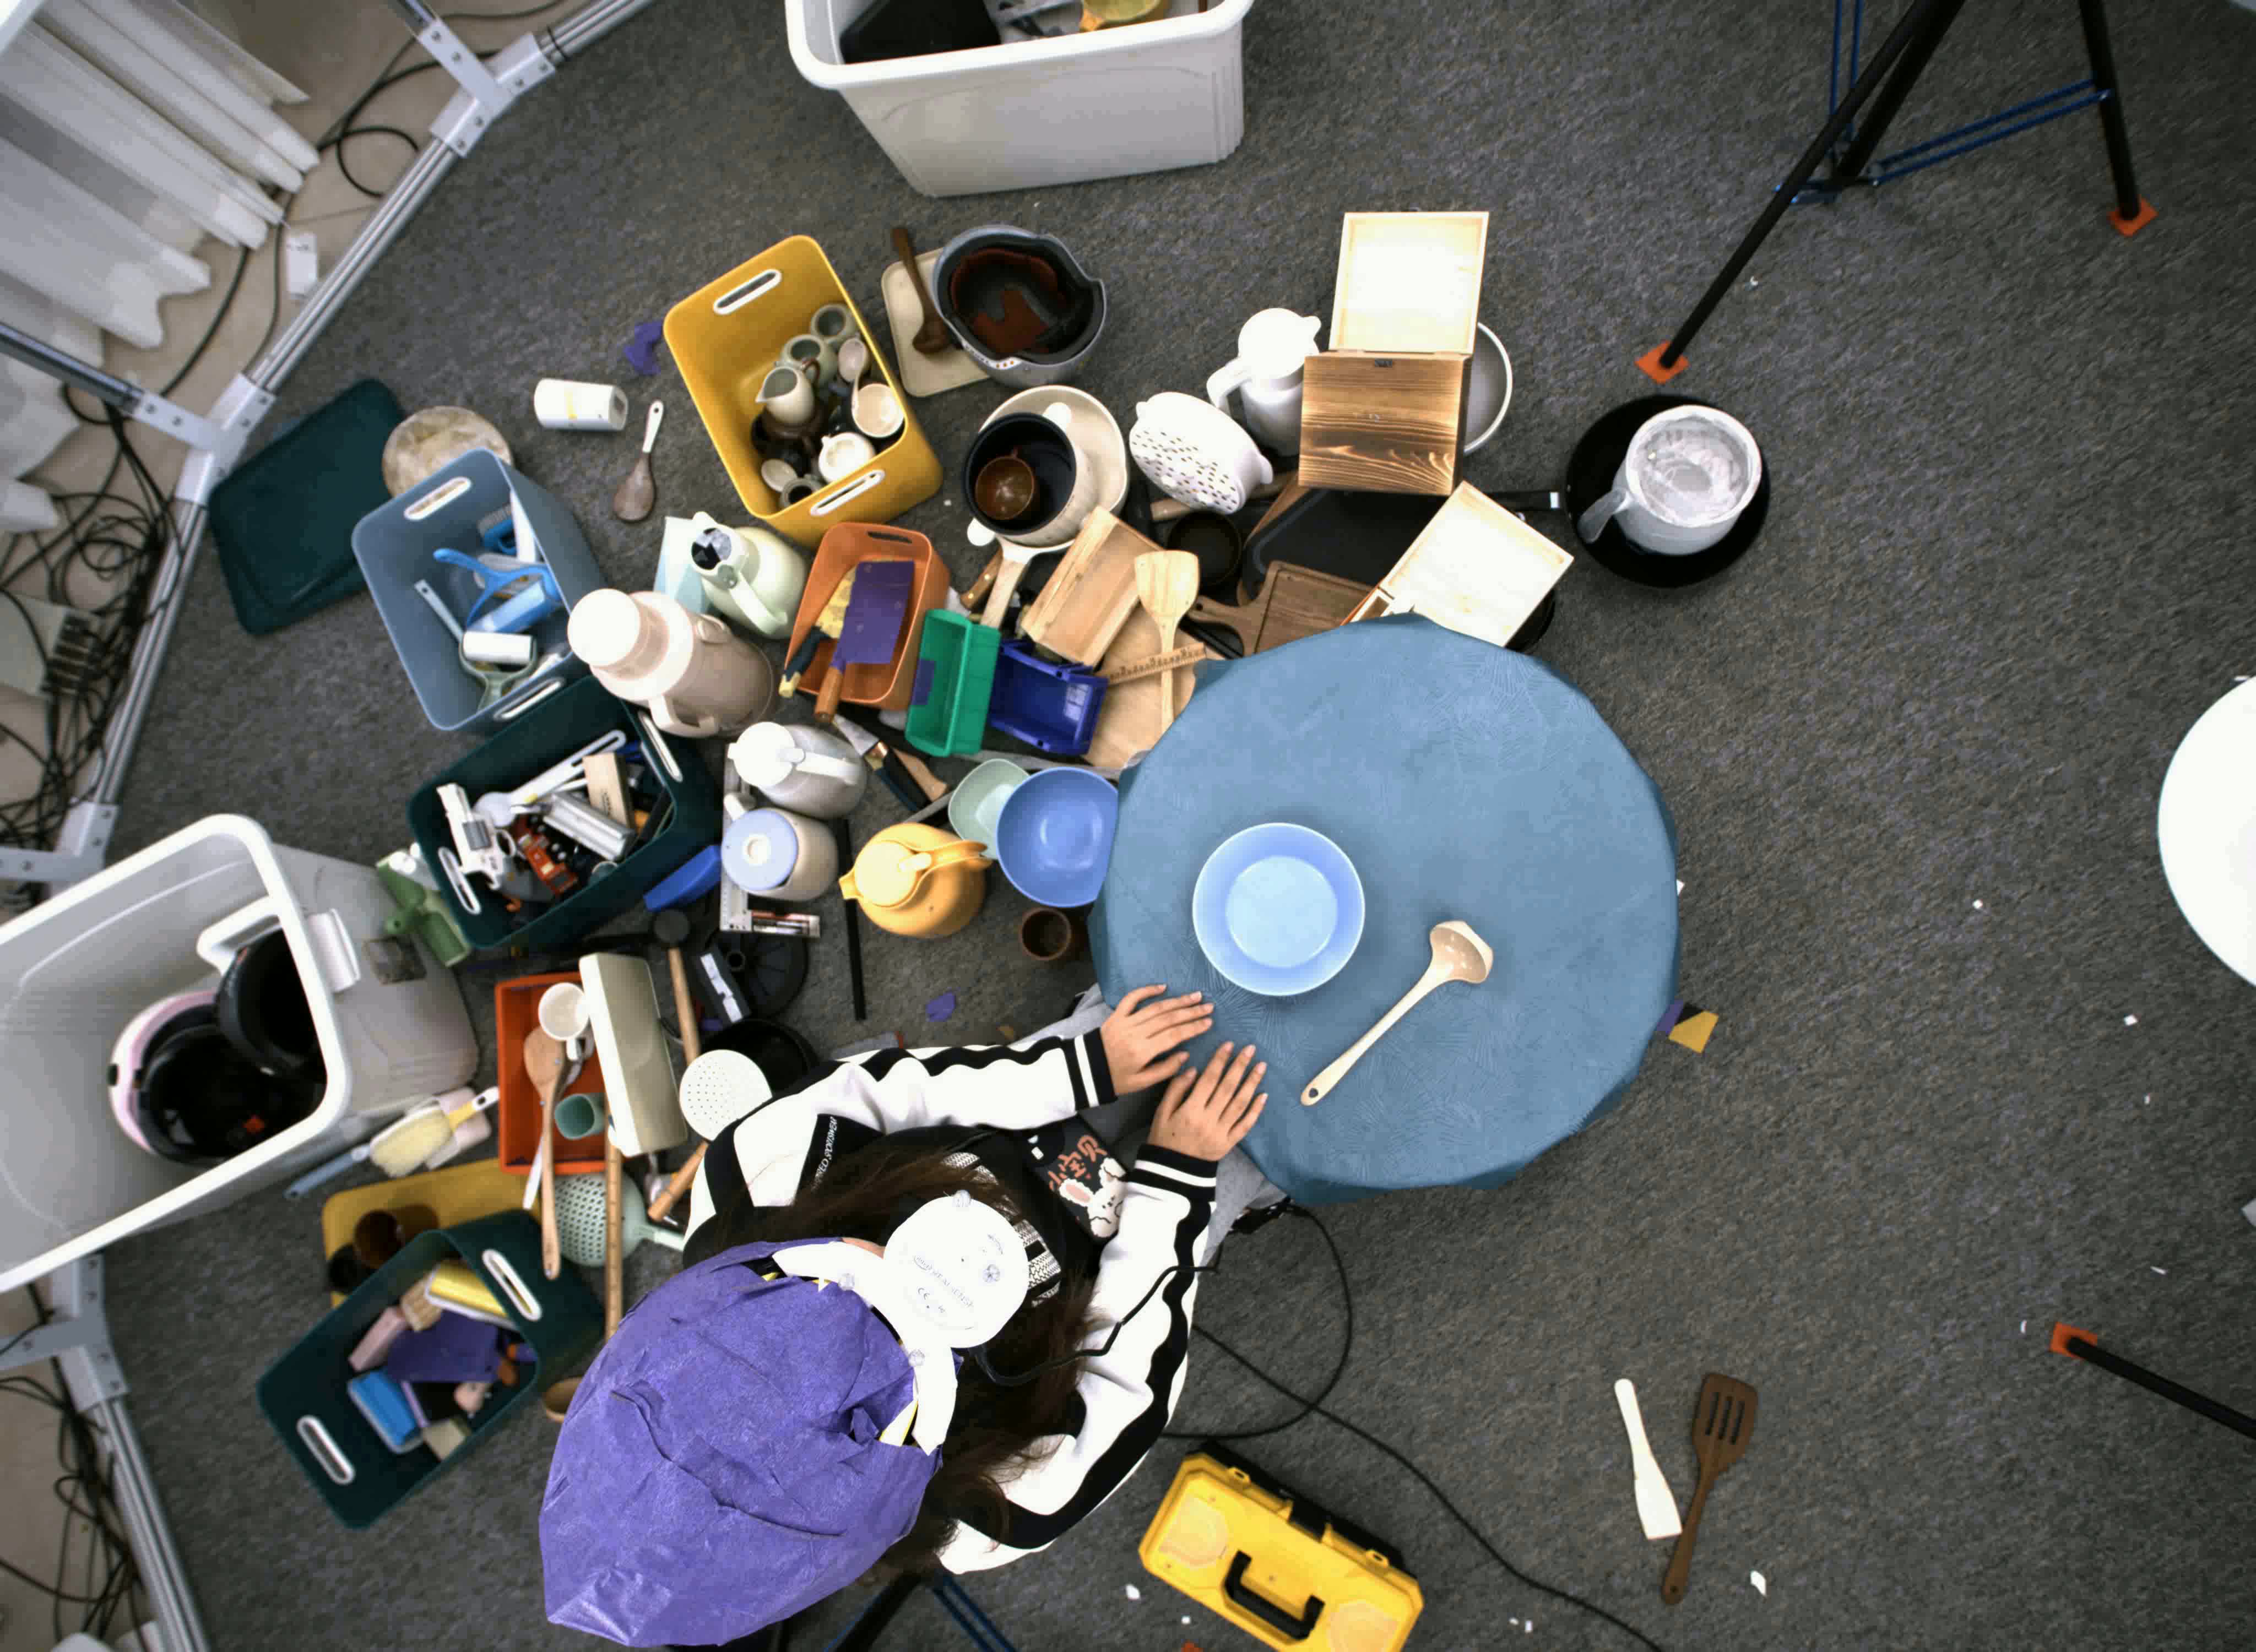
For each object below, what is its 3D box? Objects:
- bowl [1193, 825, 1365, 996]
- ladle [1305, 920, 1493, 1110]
[{"bbox_3d":[0.159,0.089,1.444,0.177,0.070,0.175,-1,85,11],"label":"bowl"},{"bbox_3d":[0.270,0.199,1.416,0.072,0.073,0.255,44,95,11],"label":"ladle"}]
